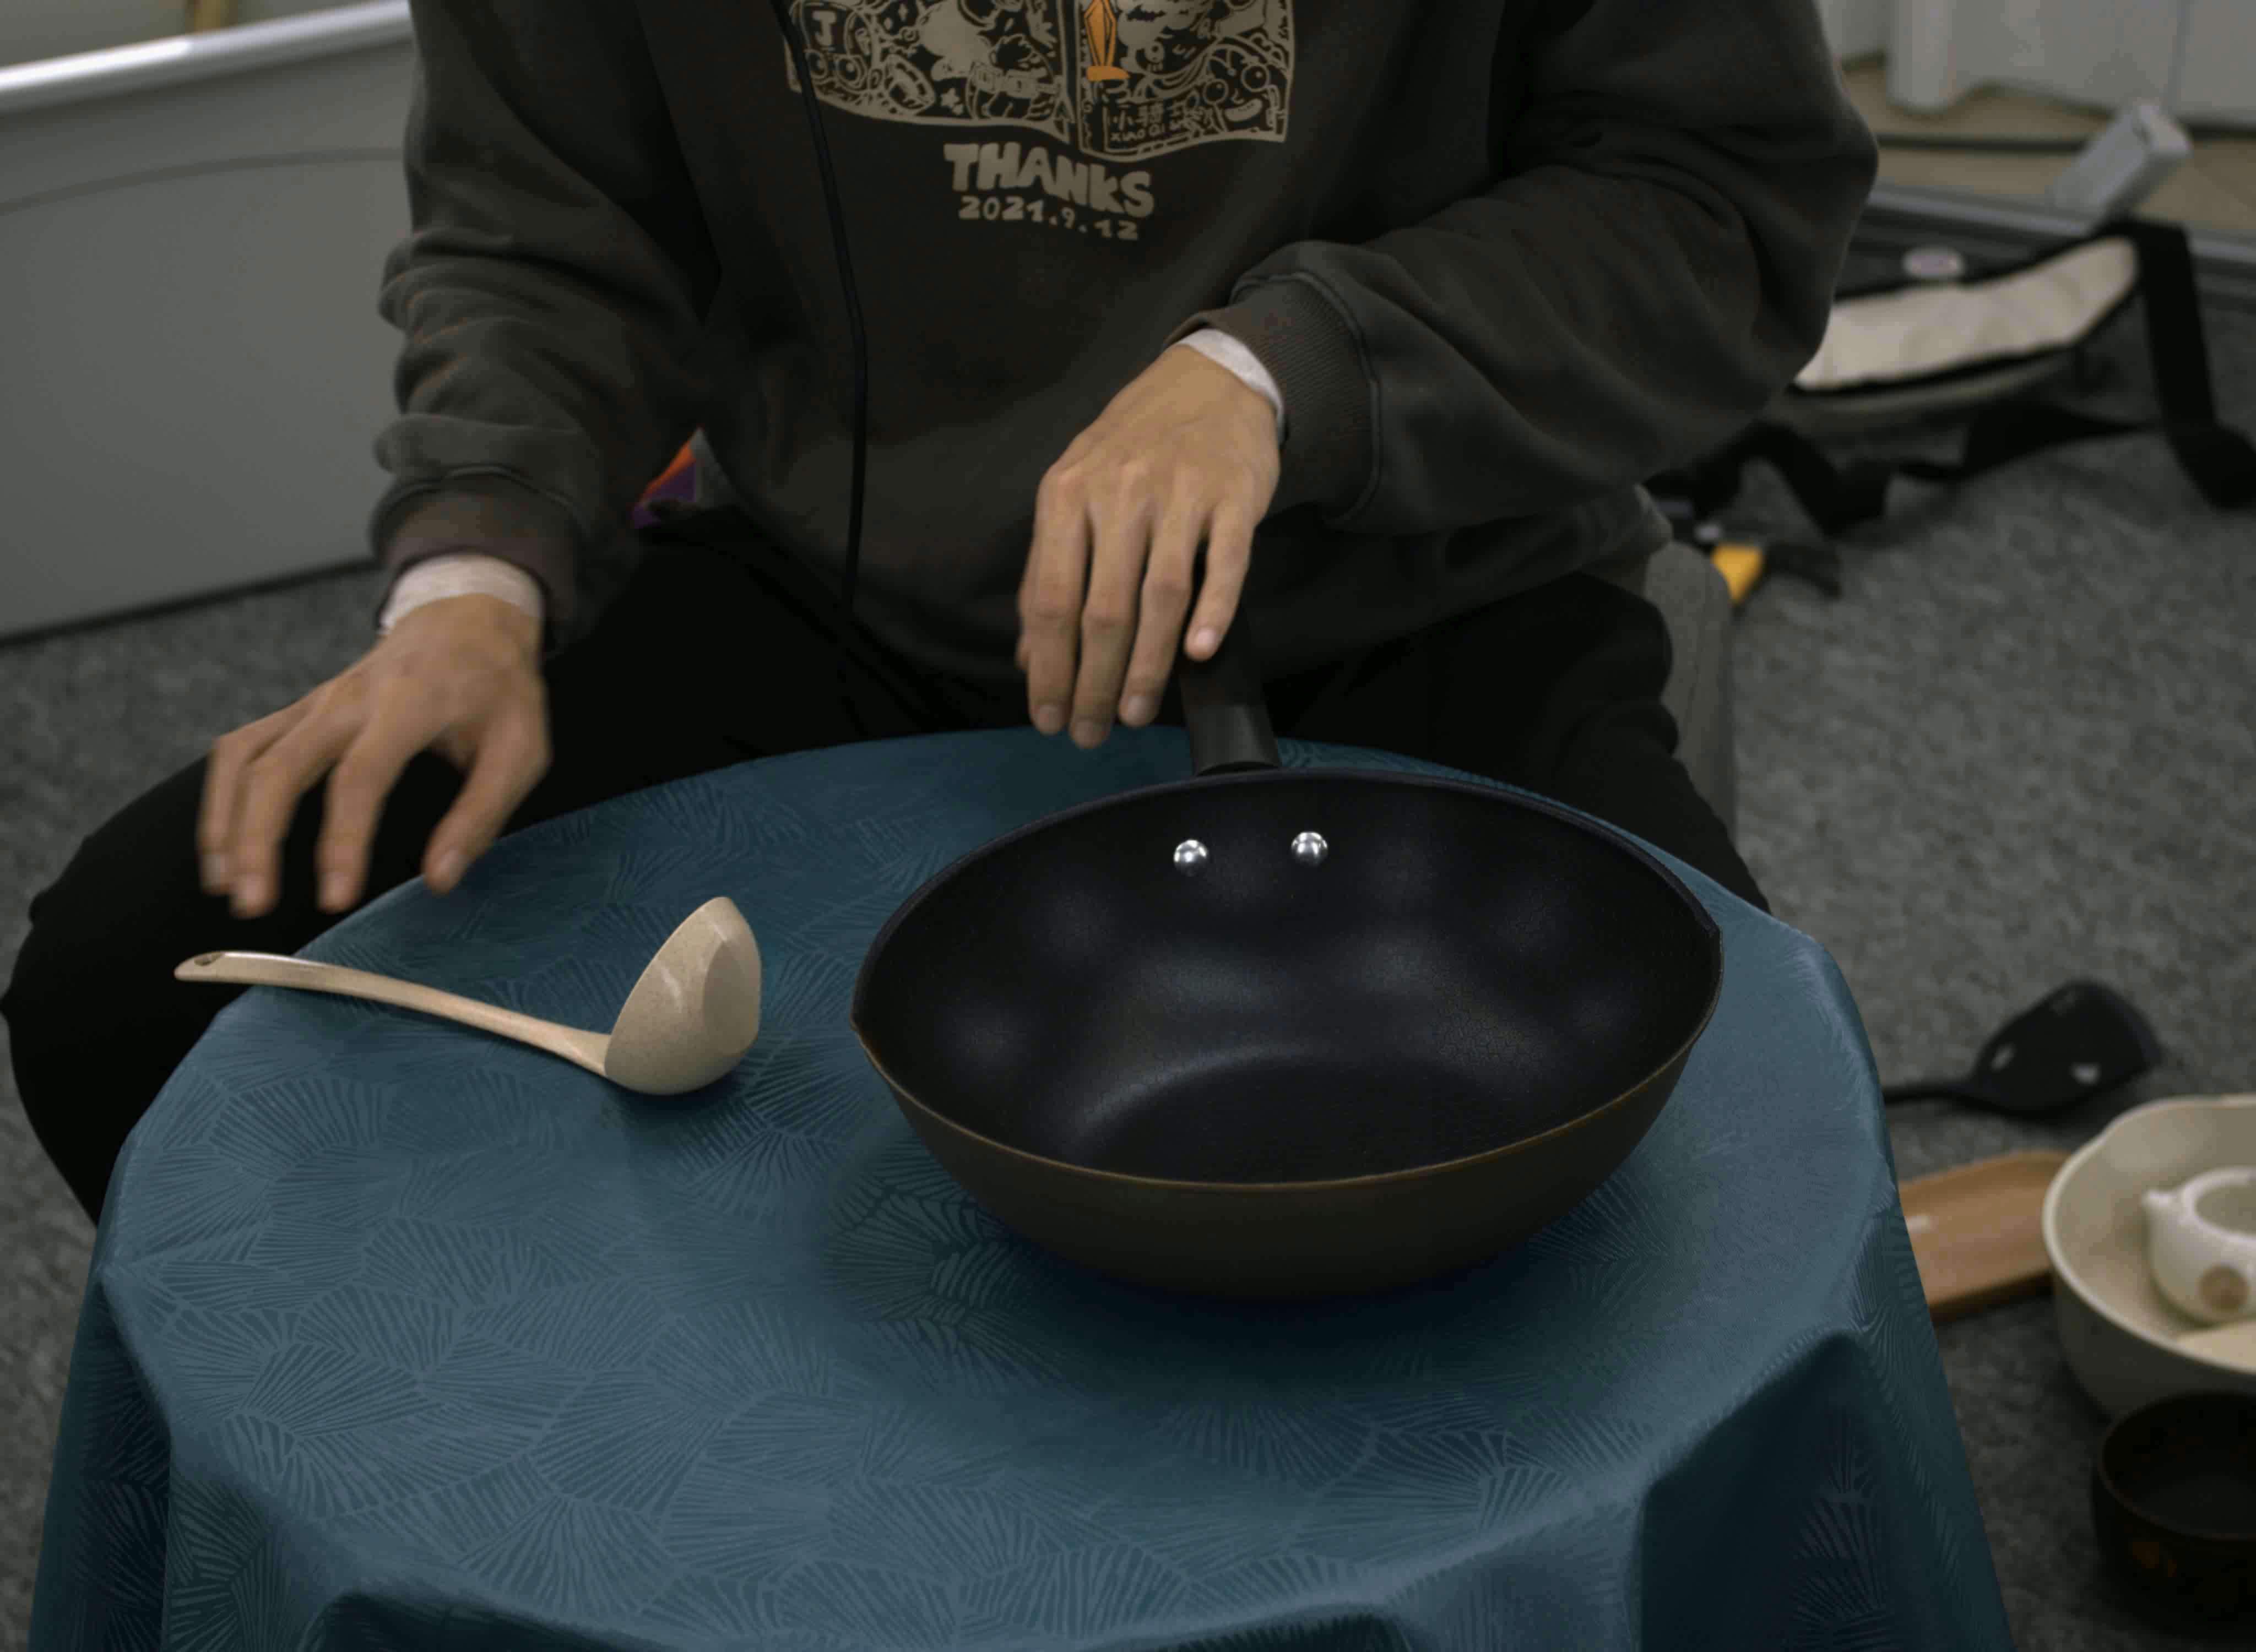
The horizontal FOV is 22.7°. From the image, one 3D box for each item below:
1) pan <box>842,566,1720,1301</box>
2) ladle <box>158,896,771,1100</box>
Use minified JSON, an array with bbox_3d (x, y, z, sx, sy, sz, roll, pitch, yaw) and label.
[{"bbox_3d":[0.044,0.038,1.927,0.287,0.086,0.469,-5,26,-3],"label":"pan"},{"bbox_3d":[-0.242,0.043,1.965,0.253,0.072,0.073,10,33,26],"label":"ladle"}]
